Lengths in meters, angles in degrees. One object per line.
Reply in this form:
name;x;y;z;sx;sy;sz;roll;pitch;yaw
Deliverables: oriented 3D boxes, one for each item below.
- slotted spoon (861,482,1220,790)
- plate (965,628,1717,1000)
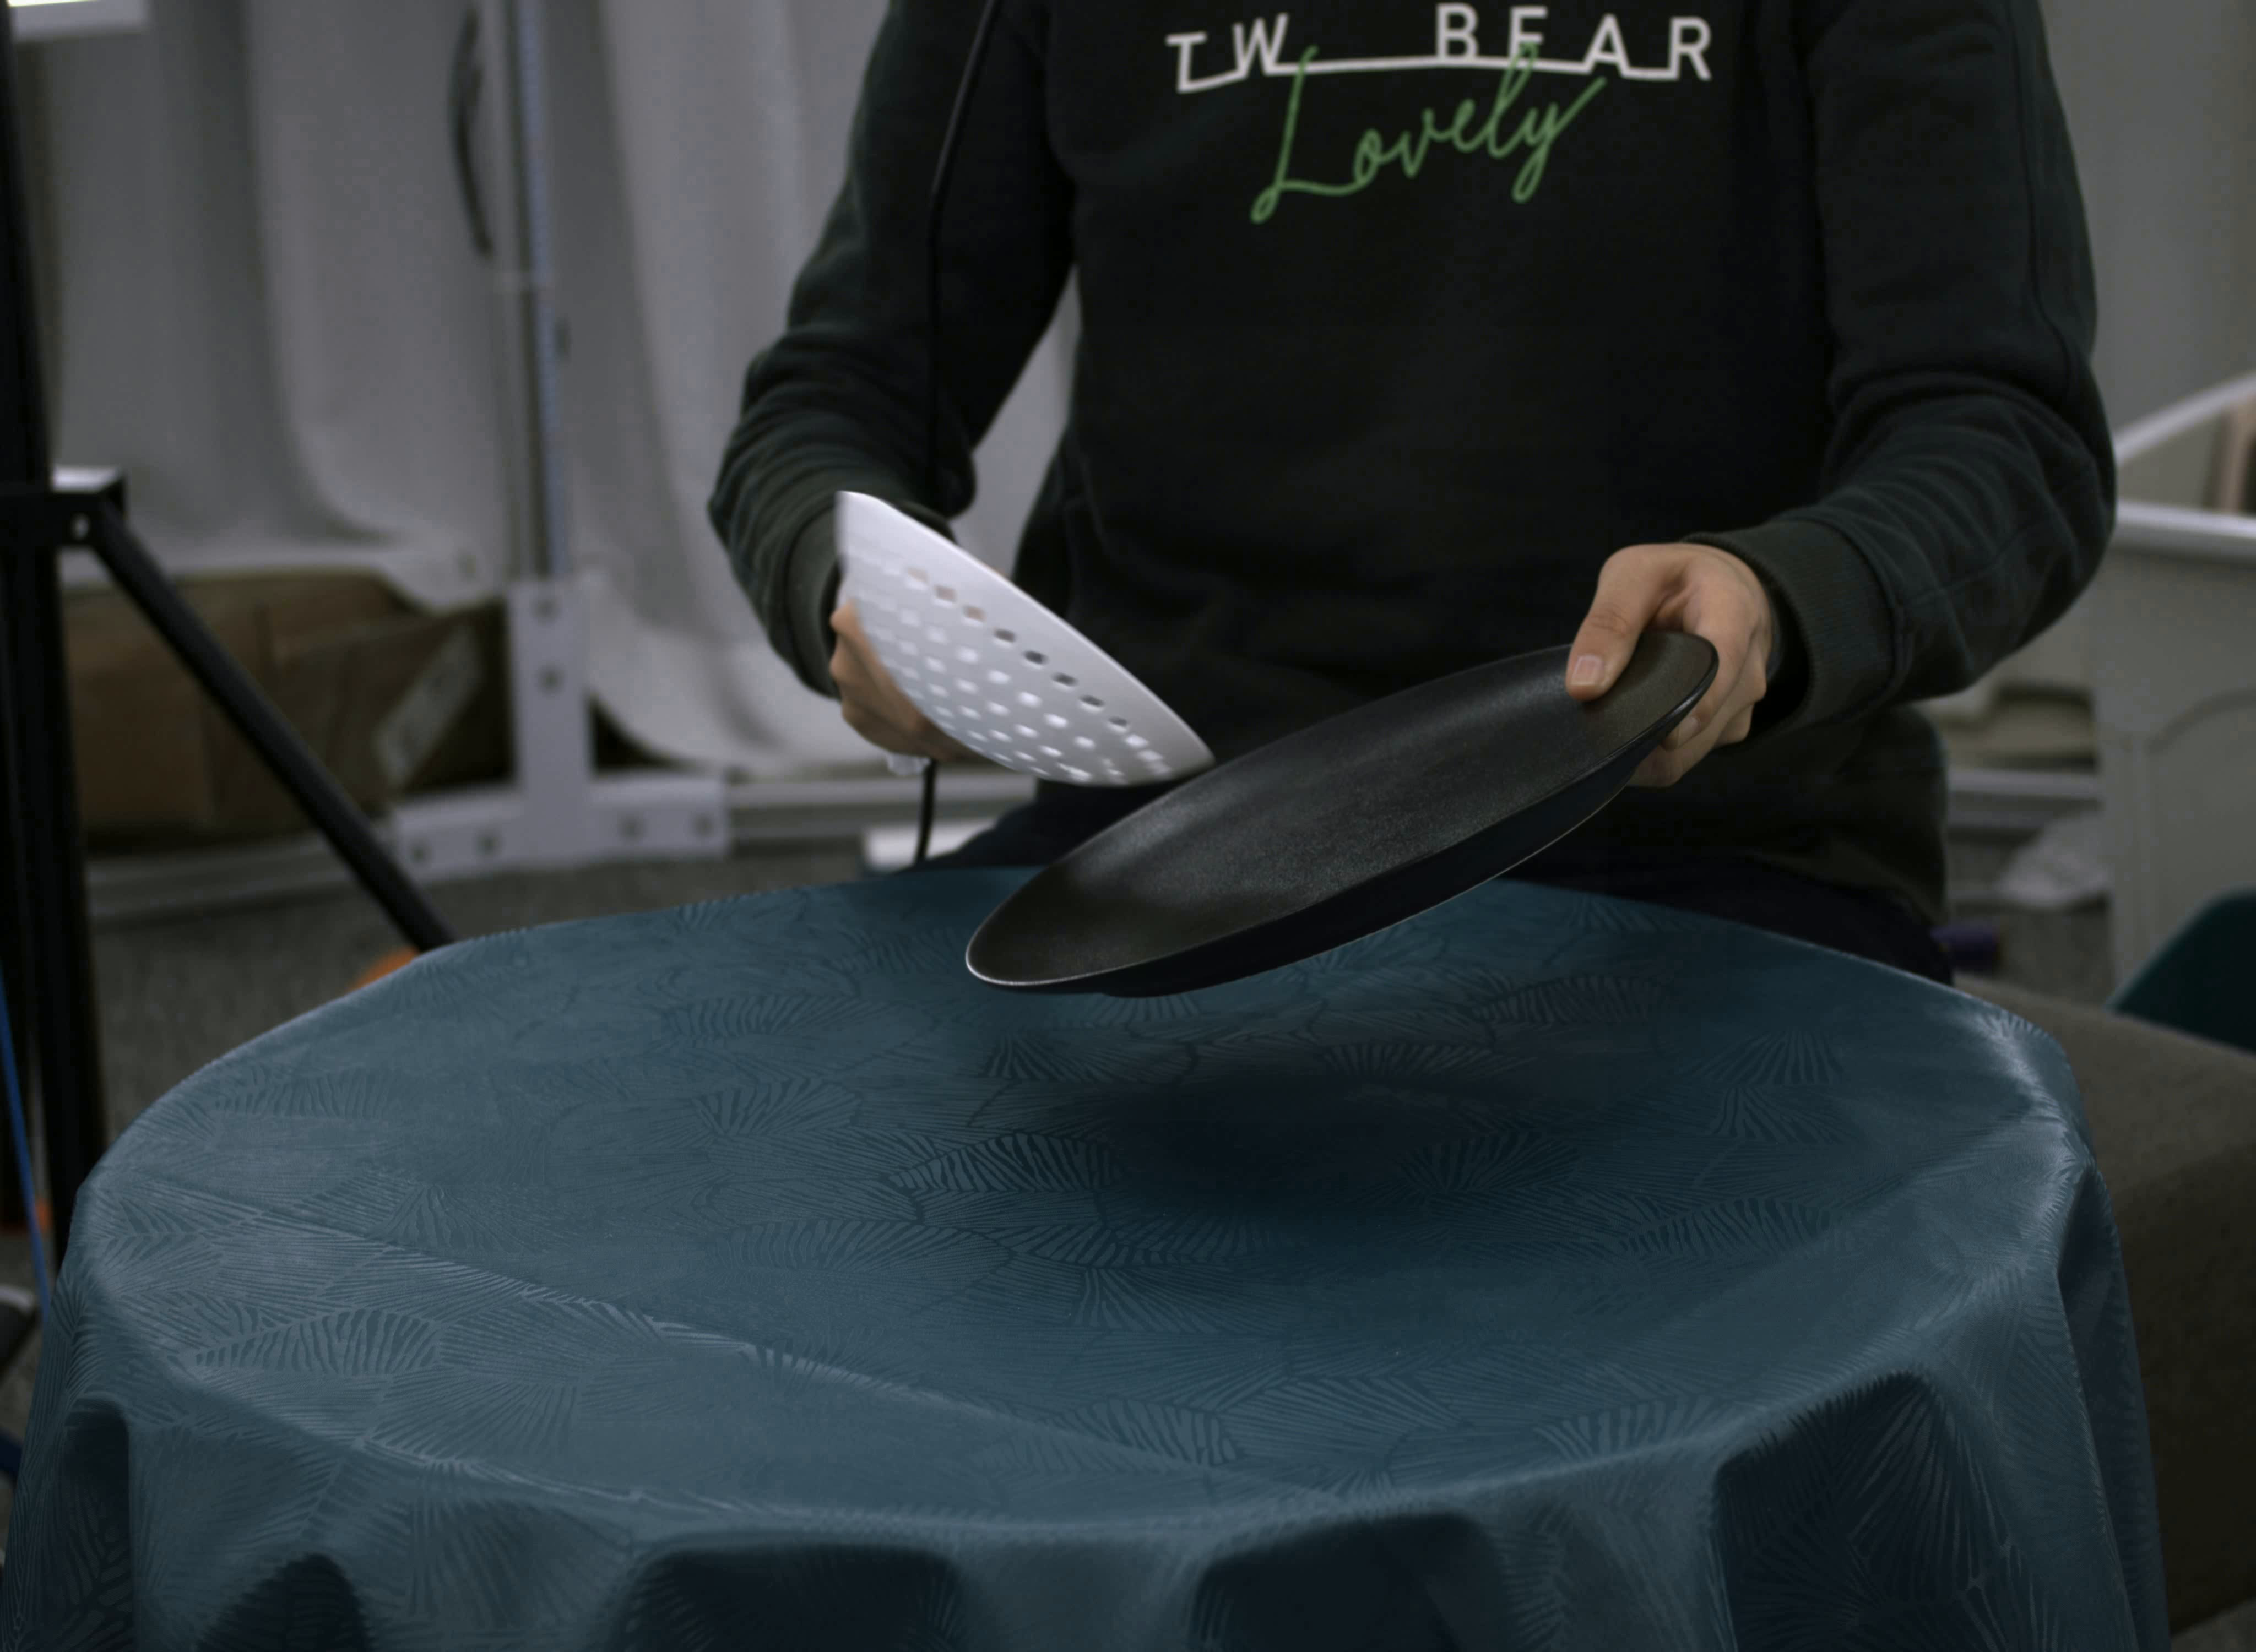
slotted spoon;-0.043;-0.050;1.707;0.135;0.046;0.350;39;-1;-4
plate;0.066;0.002;1.590;0.244;0.023;0.245;-24;11;3
